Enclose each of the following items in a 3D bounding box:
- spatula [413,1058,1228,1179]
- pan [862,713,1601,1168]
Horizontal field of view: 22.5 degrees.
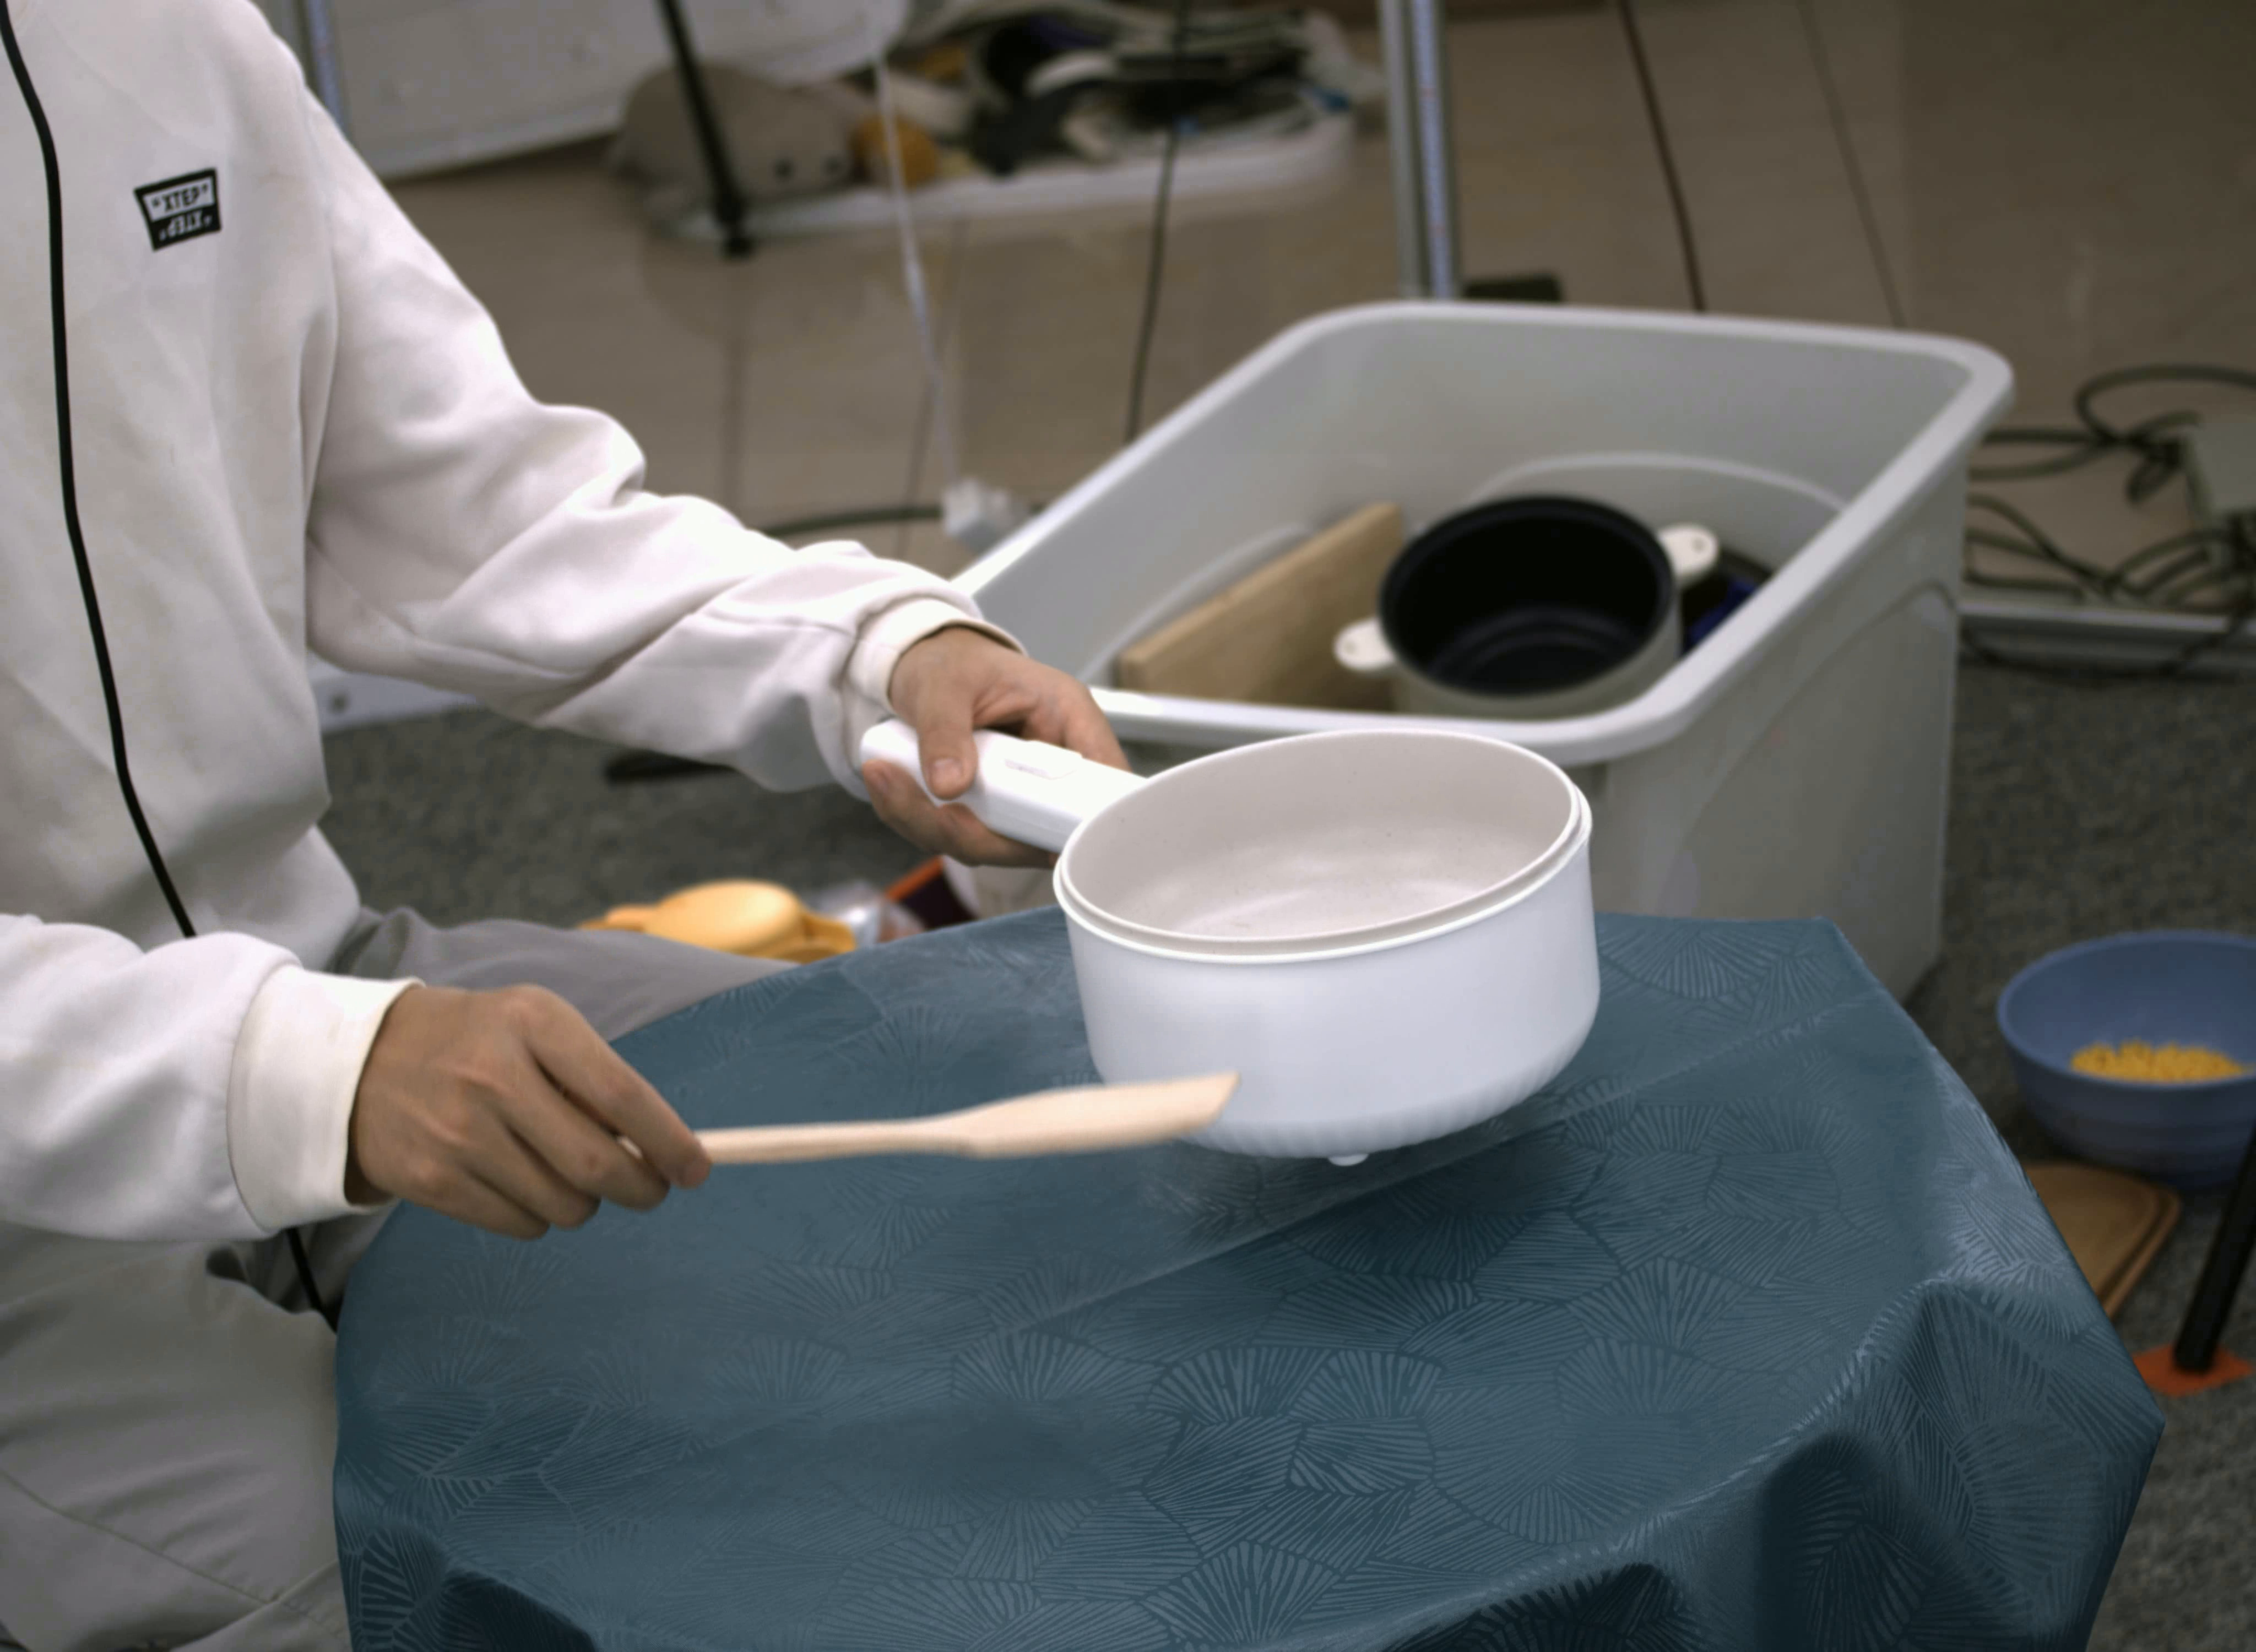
[{"bbox_3d":[-0.111,0.106,1.989,0.292,0.011,0.071,-6,11,11],"label":"spatula"},{"bbox_3d":[0.027,0.034,2.176,0.199,0.103,0.352,-27,28,-35],"label":"pan"}]
